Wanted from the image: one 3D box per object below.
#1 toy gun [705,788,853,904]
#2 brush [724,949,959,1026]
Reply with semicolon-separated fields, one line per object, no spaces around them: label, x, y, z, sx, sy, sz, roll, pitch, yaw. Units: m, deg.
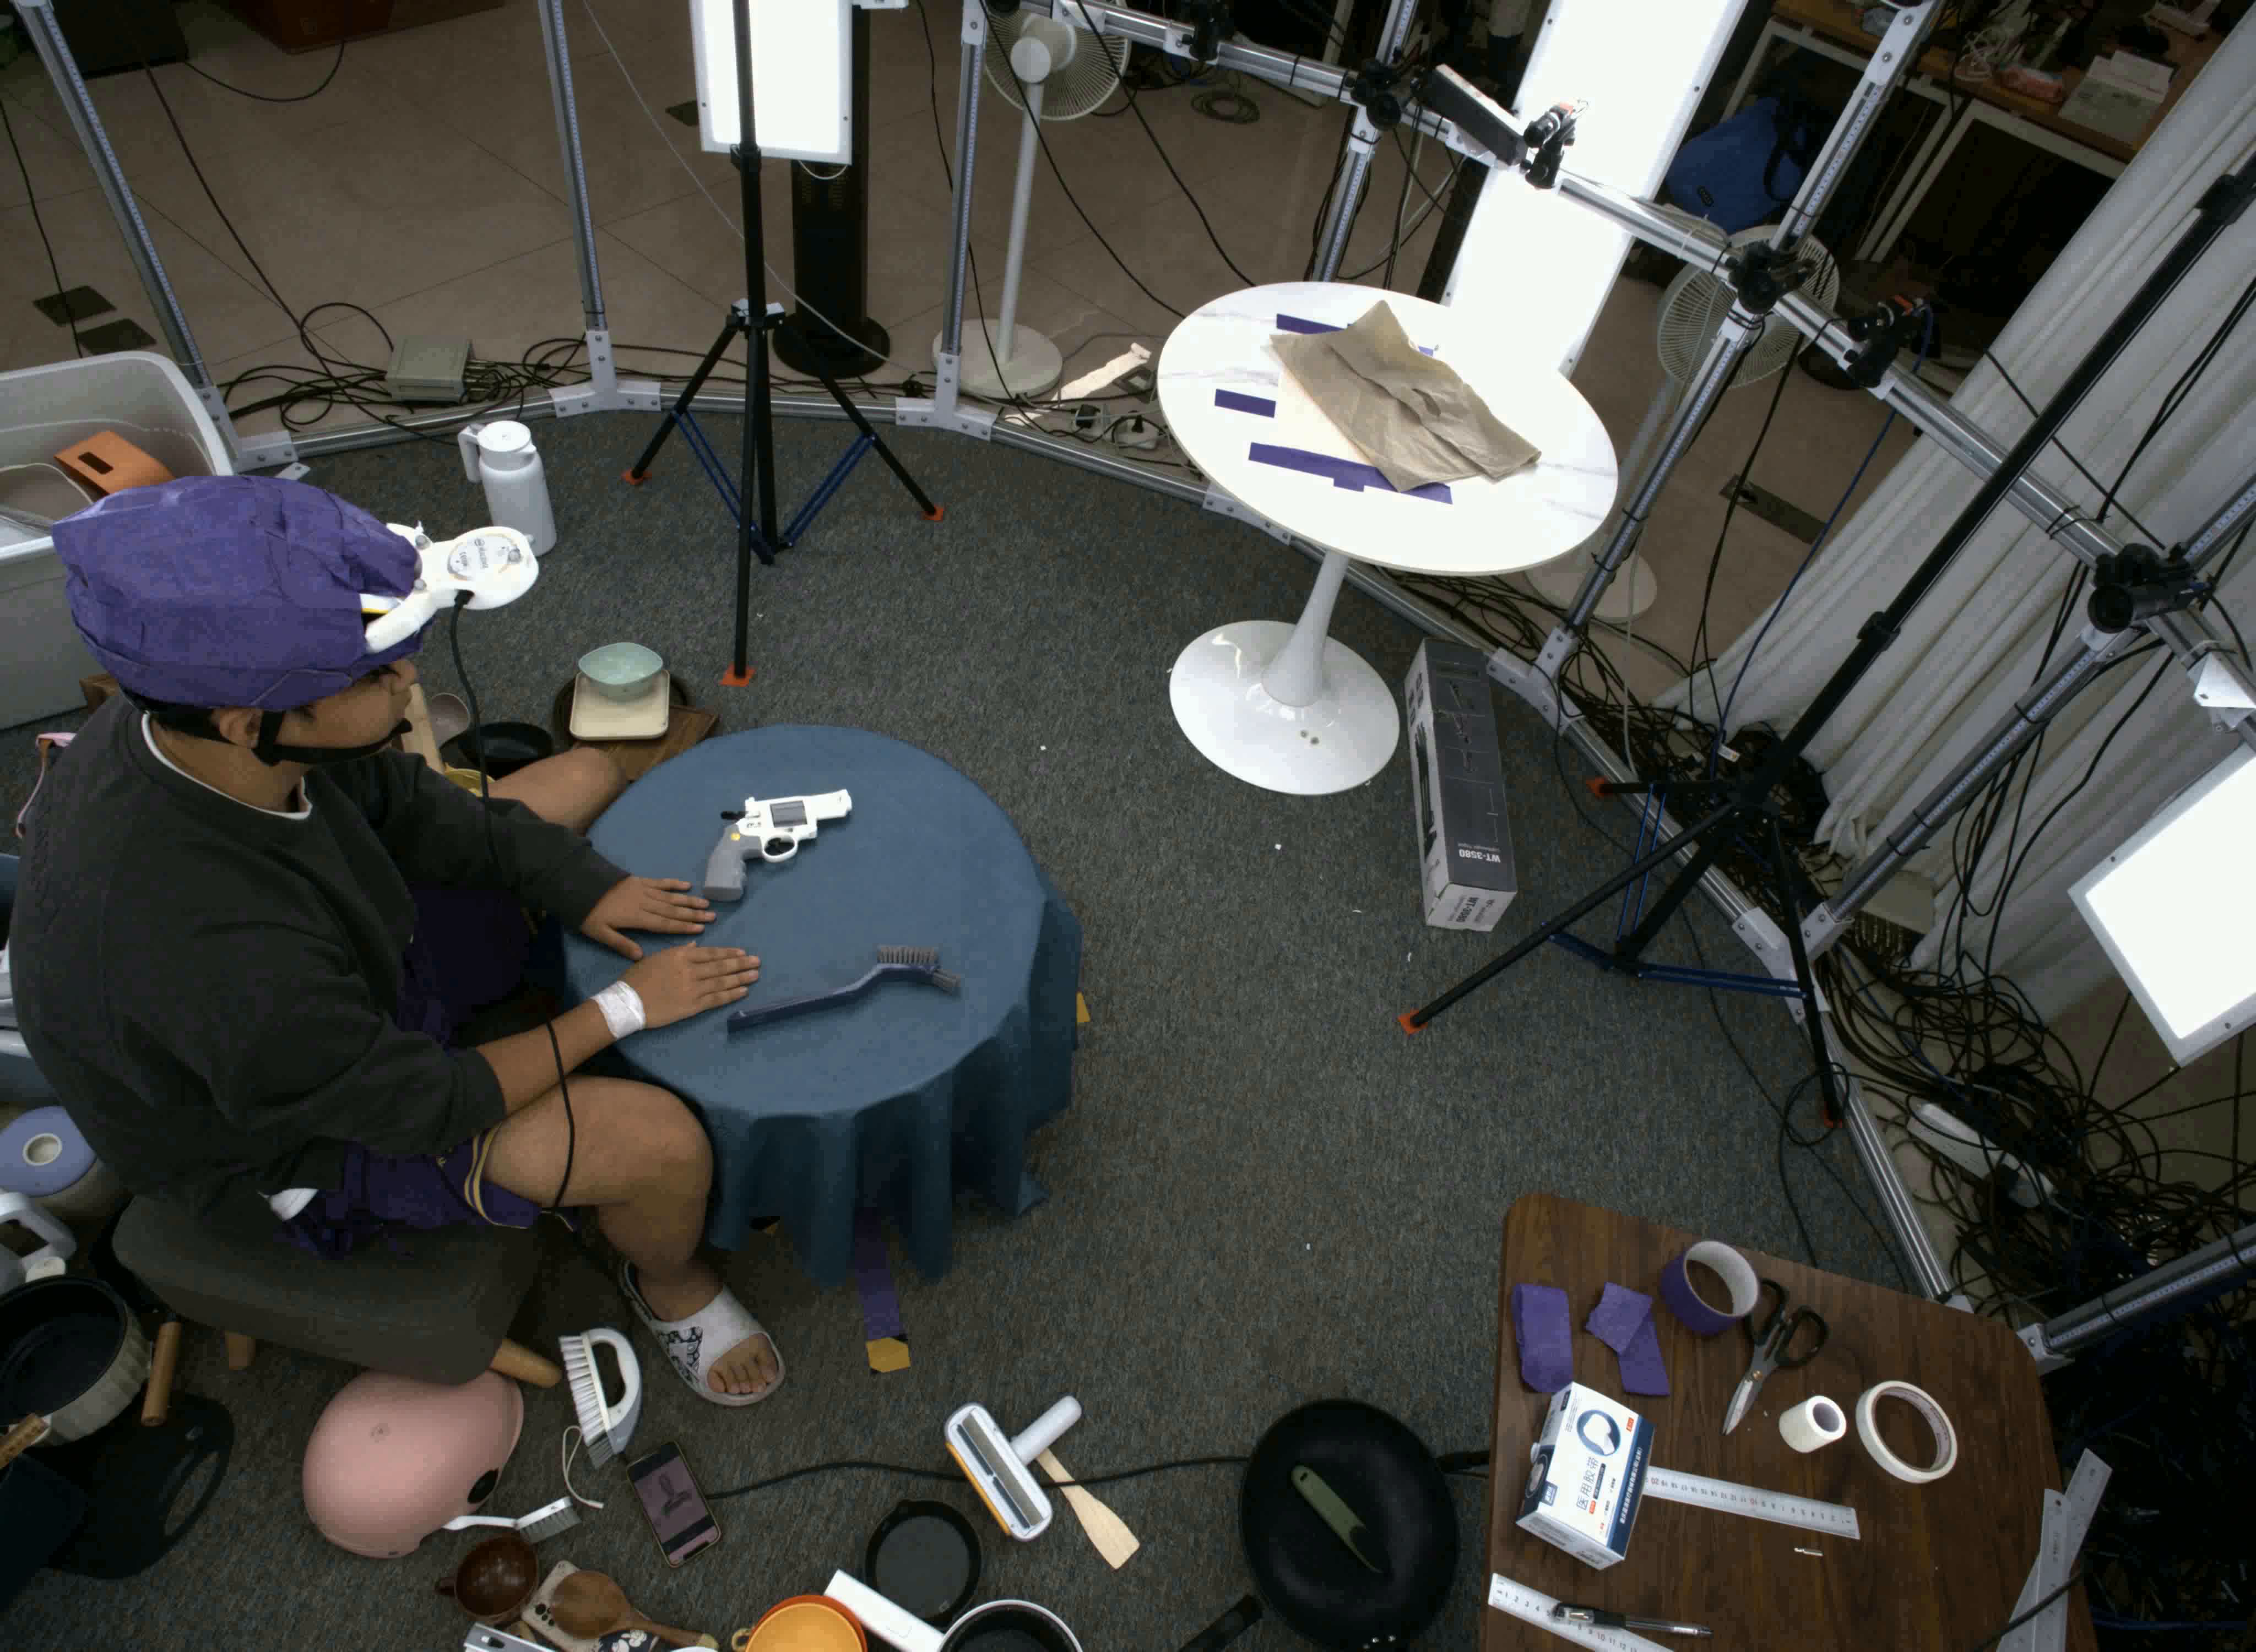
toy gun;-0.453;0.019;1.683;0.210;0.039;0.138;-10;58;-21
brush;-0.346;0.207;1.574;0.274;0.034;0.093;-19;60;-27
